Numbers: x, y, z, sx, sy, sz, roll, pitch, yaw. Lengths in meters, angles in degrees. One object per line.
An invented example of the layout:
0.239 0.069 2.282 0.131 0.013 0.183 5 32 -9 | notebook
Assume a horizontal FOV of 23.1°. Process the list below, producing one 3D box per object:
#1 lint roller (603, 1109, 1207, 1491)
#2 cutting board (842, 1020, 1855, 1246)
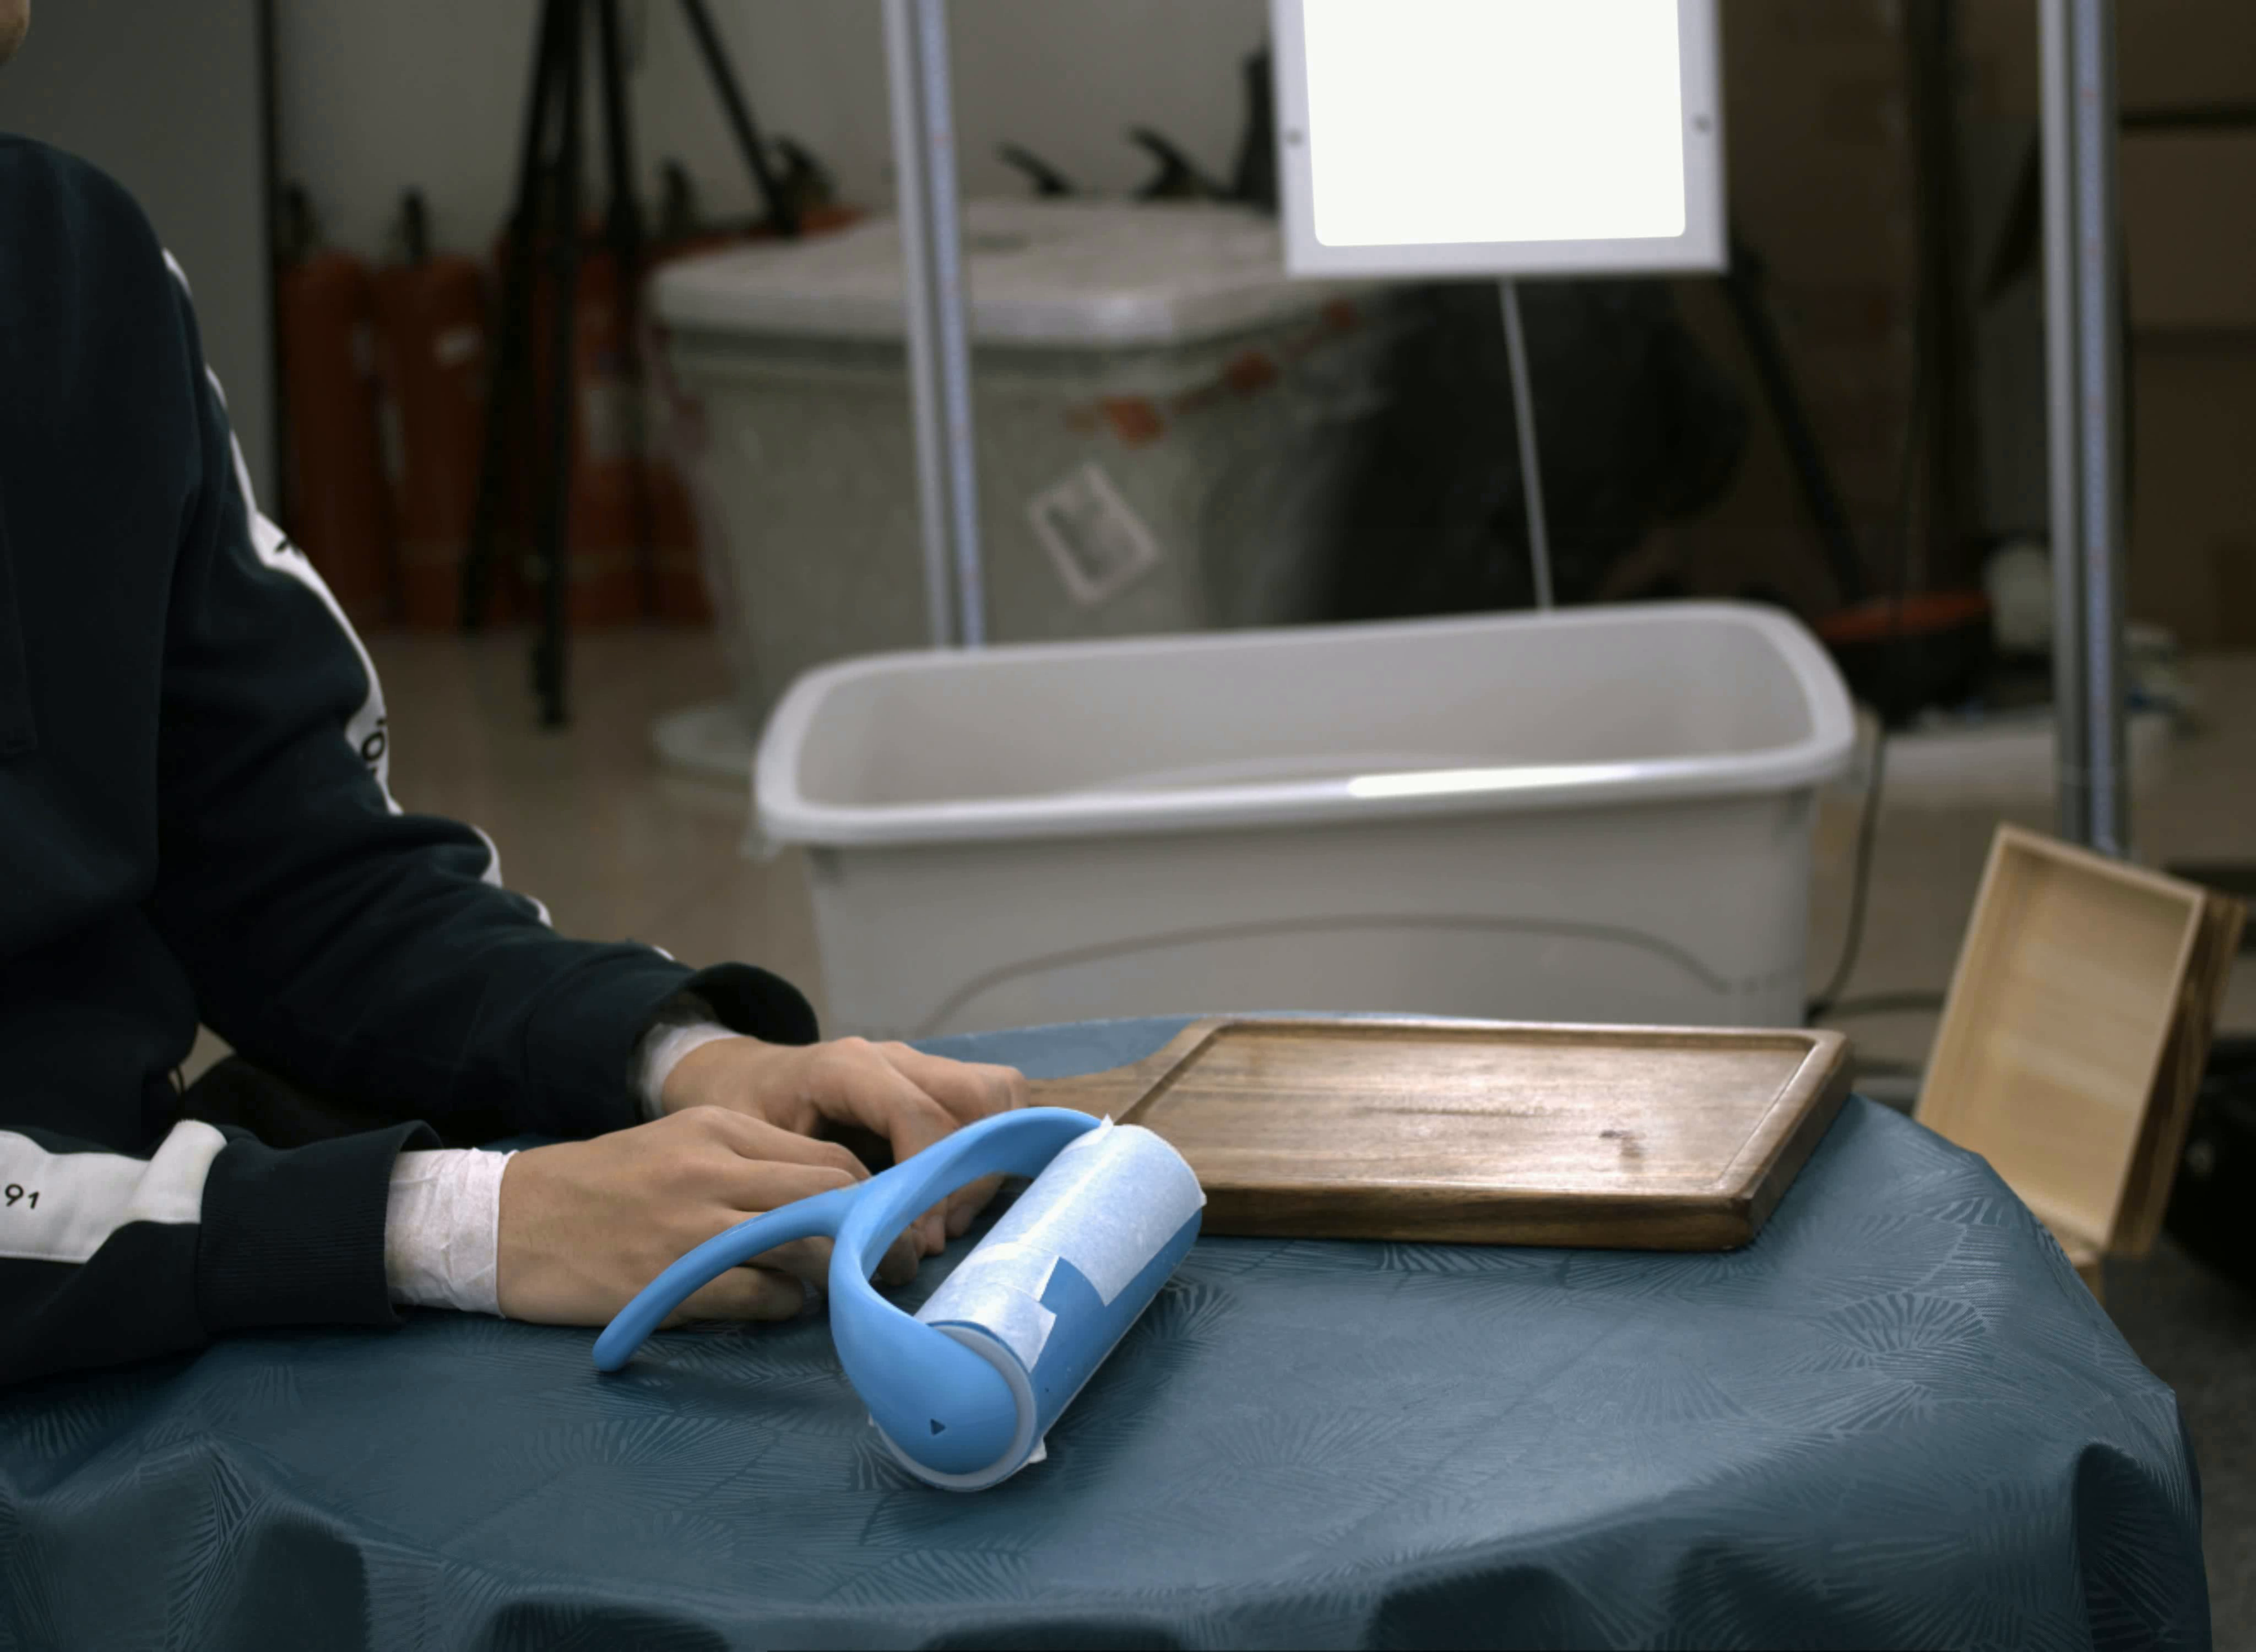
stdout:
-0.082 0.146 1.725 0.182 0.068 0.226 -1 16 14 | lint roller
0.067 0.103 1.919 0.357 0.023 0.197 0 14 20 | cutting board
